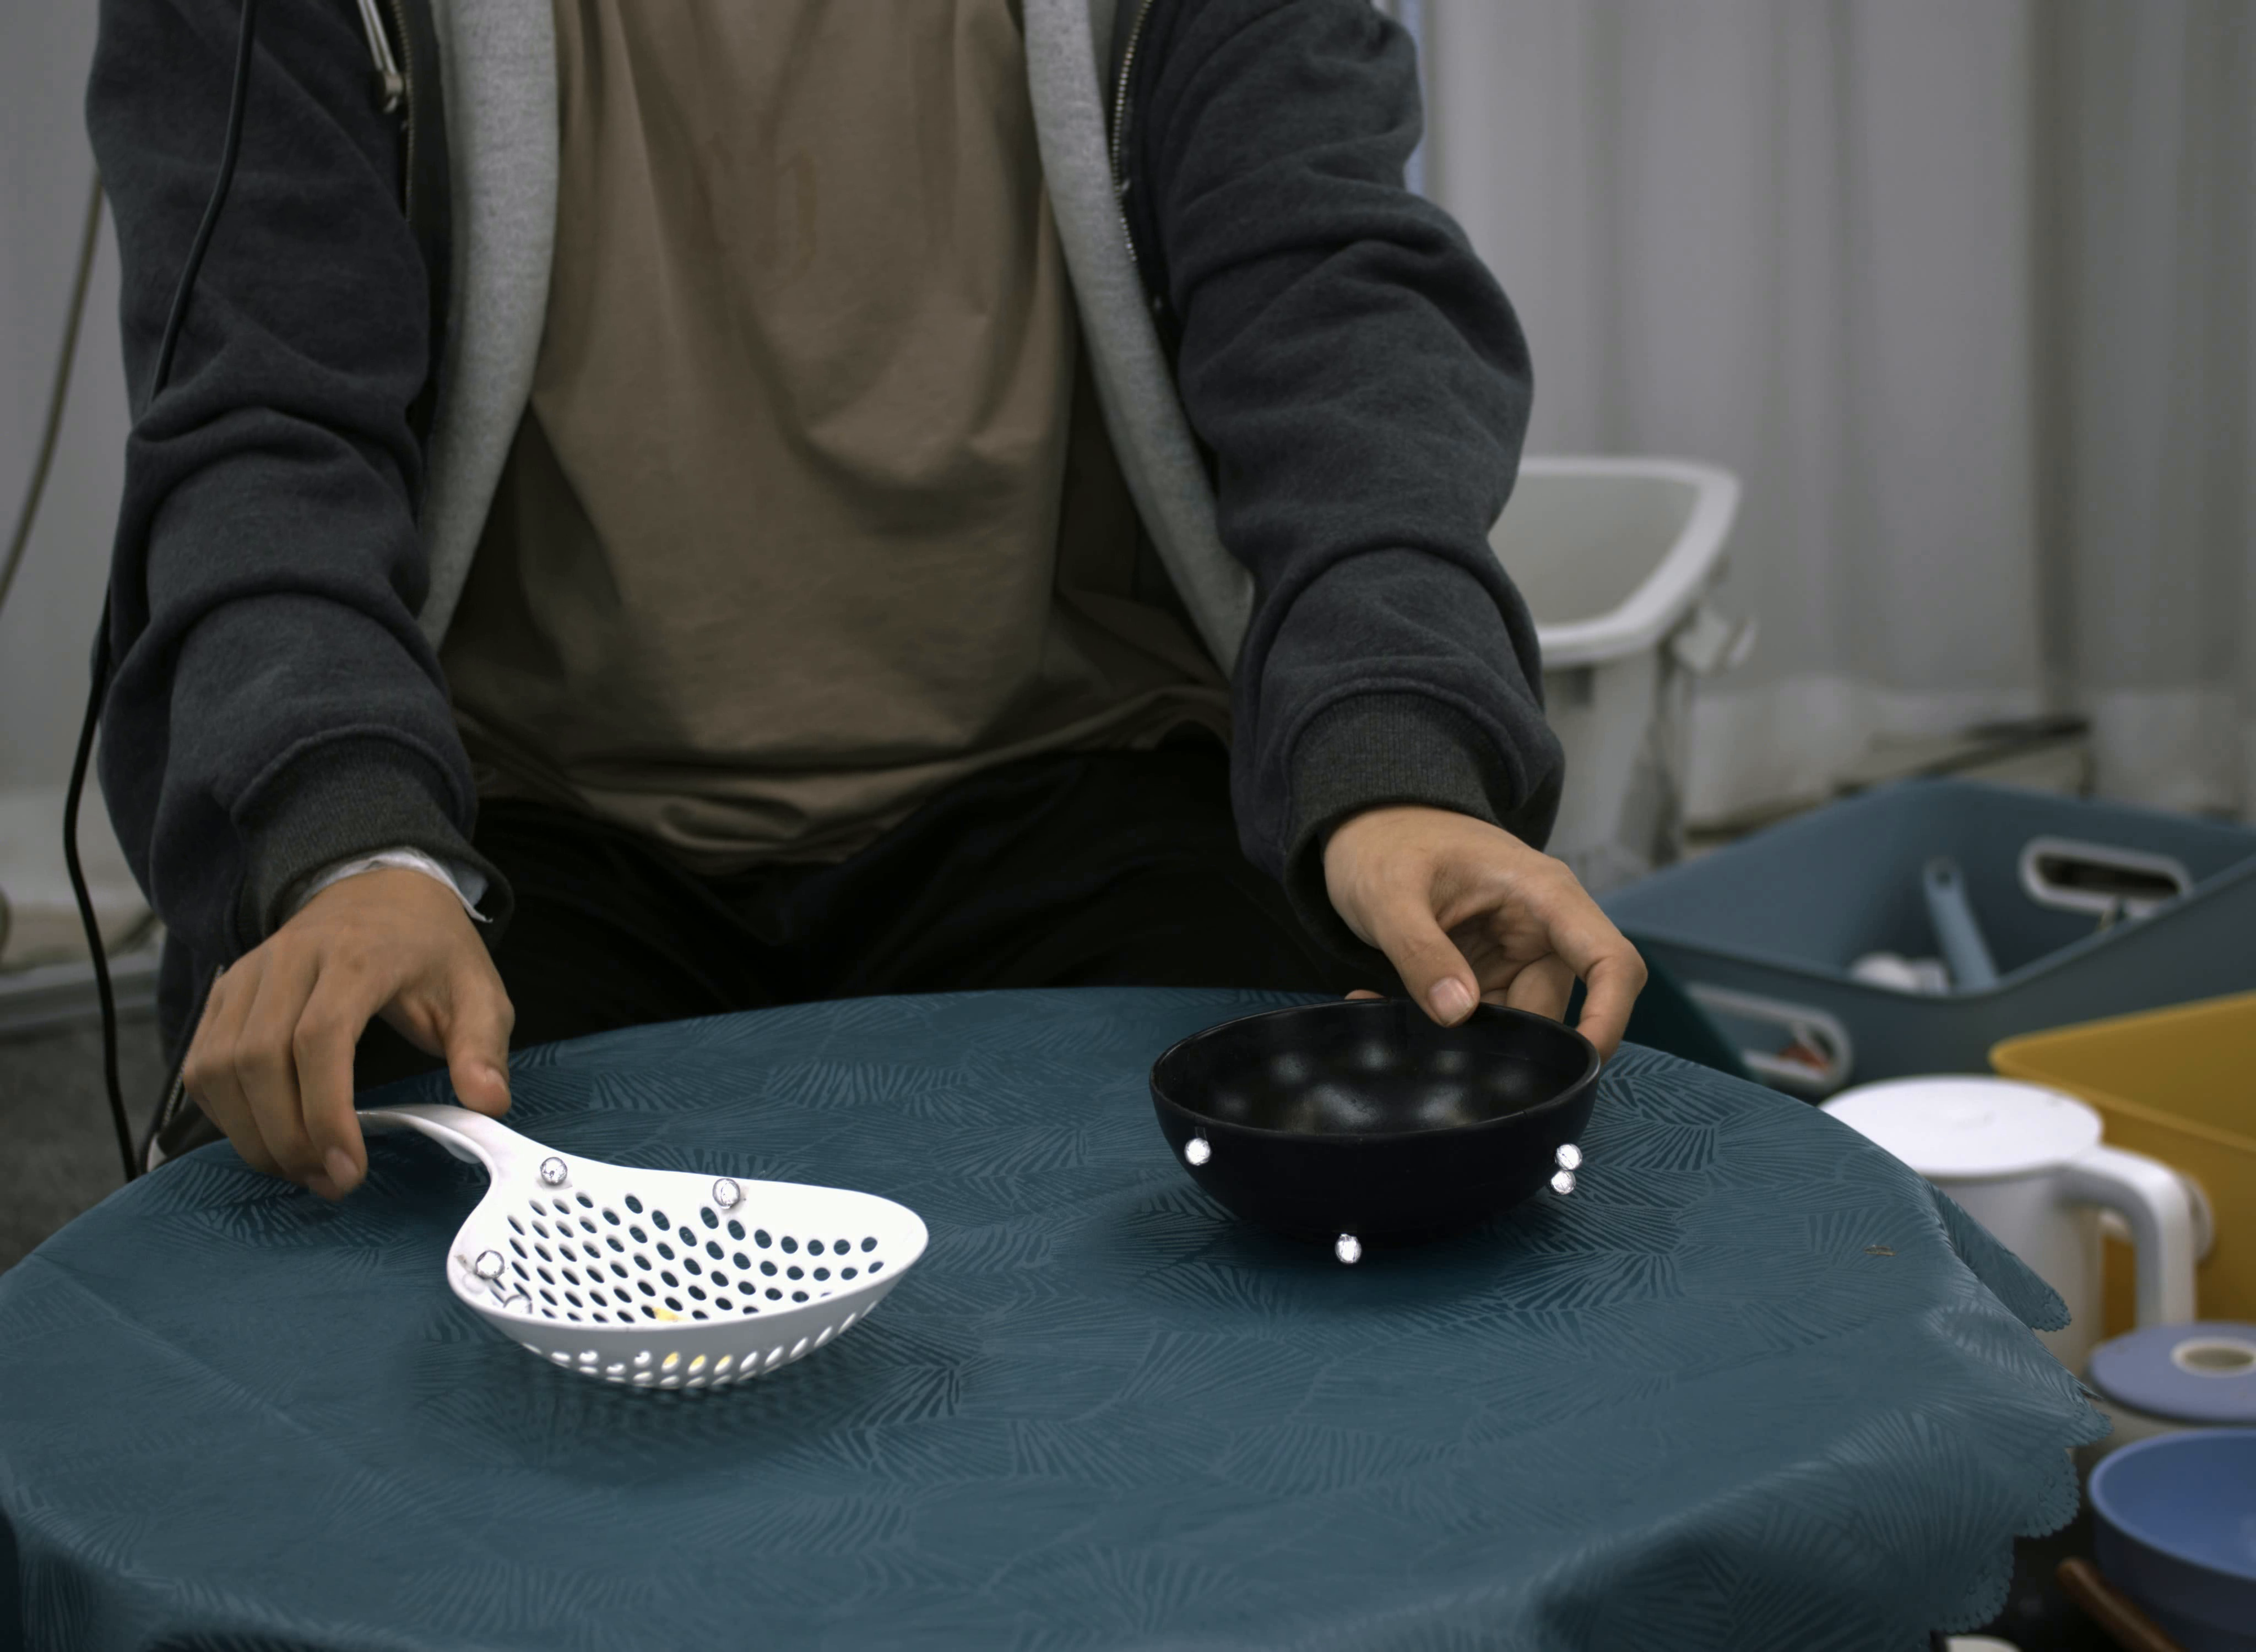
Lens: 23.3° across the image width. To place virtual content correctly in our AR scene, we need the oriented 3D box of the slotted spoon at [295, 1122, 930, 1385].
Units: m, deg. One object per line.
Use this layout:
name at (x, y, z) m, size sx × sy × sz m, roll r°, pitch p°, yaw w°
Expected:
slotted spoon at (-0.179, 0.117, 1.667) m, size 0.136 × 0.050 × 0.350 m, roll -15°, pitch 18°, yaw -27°
